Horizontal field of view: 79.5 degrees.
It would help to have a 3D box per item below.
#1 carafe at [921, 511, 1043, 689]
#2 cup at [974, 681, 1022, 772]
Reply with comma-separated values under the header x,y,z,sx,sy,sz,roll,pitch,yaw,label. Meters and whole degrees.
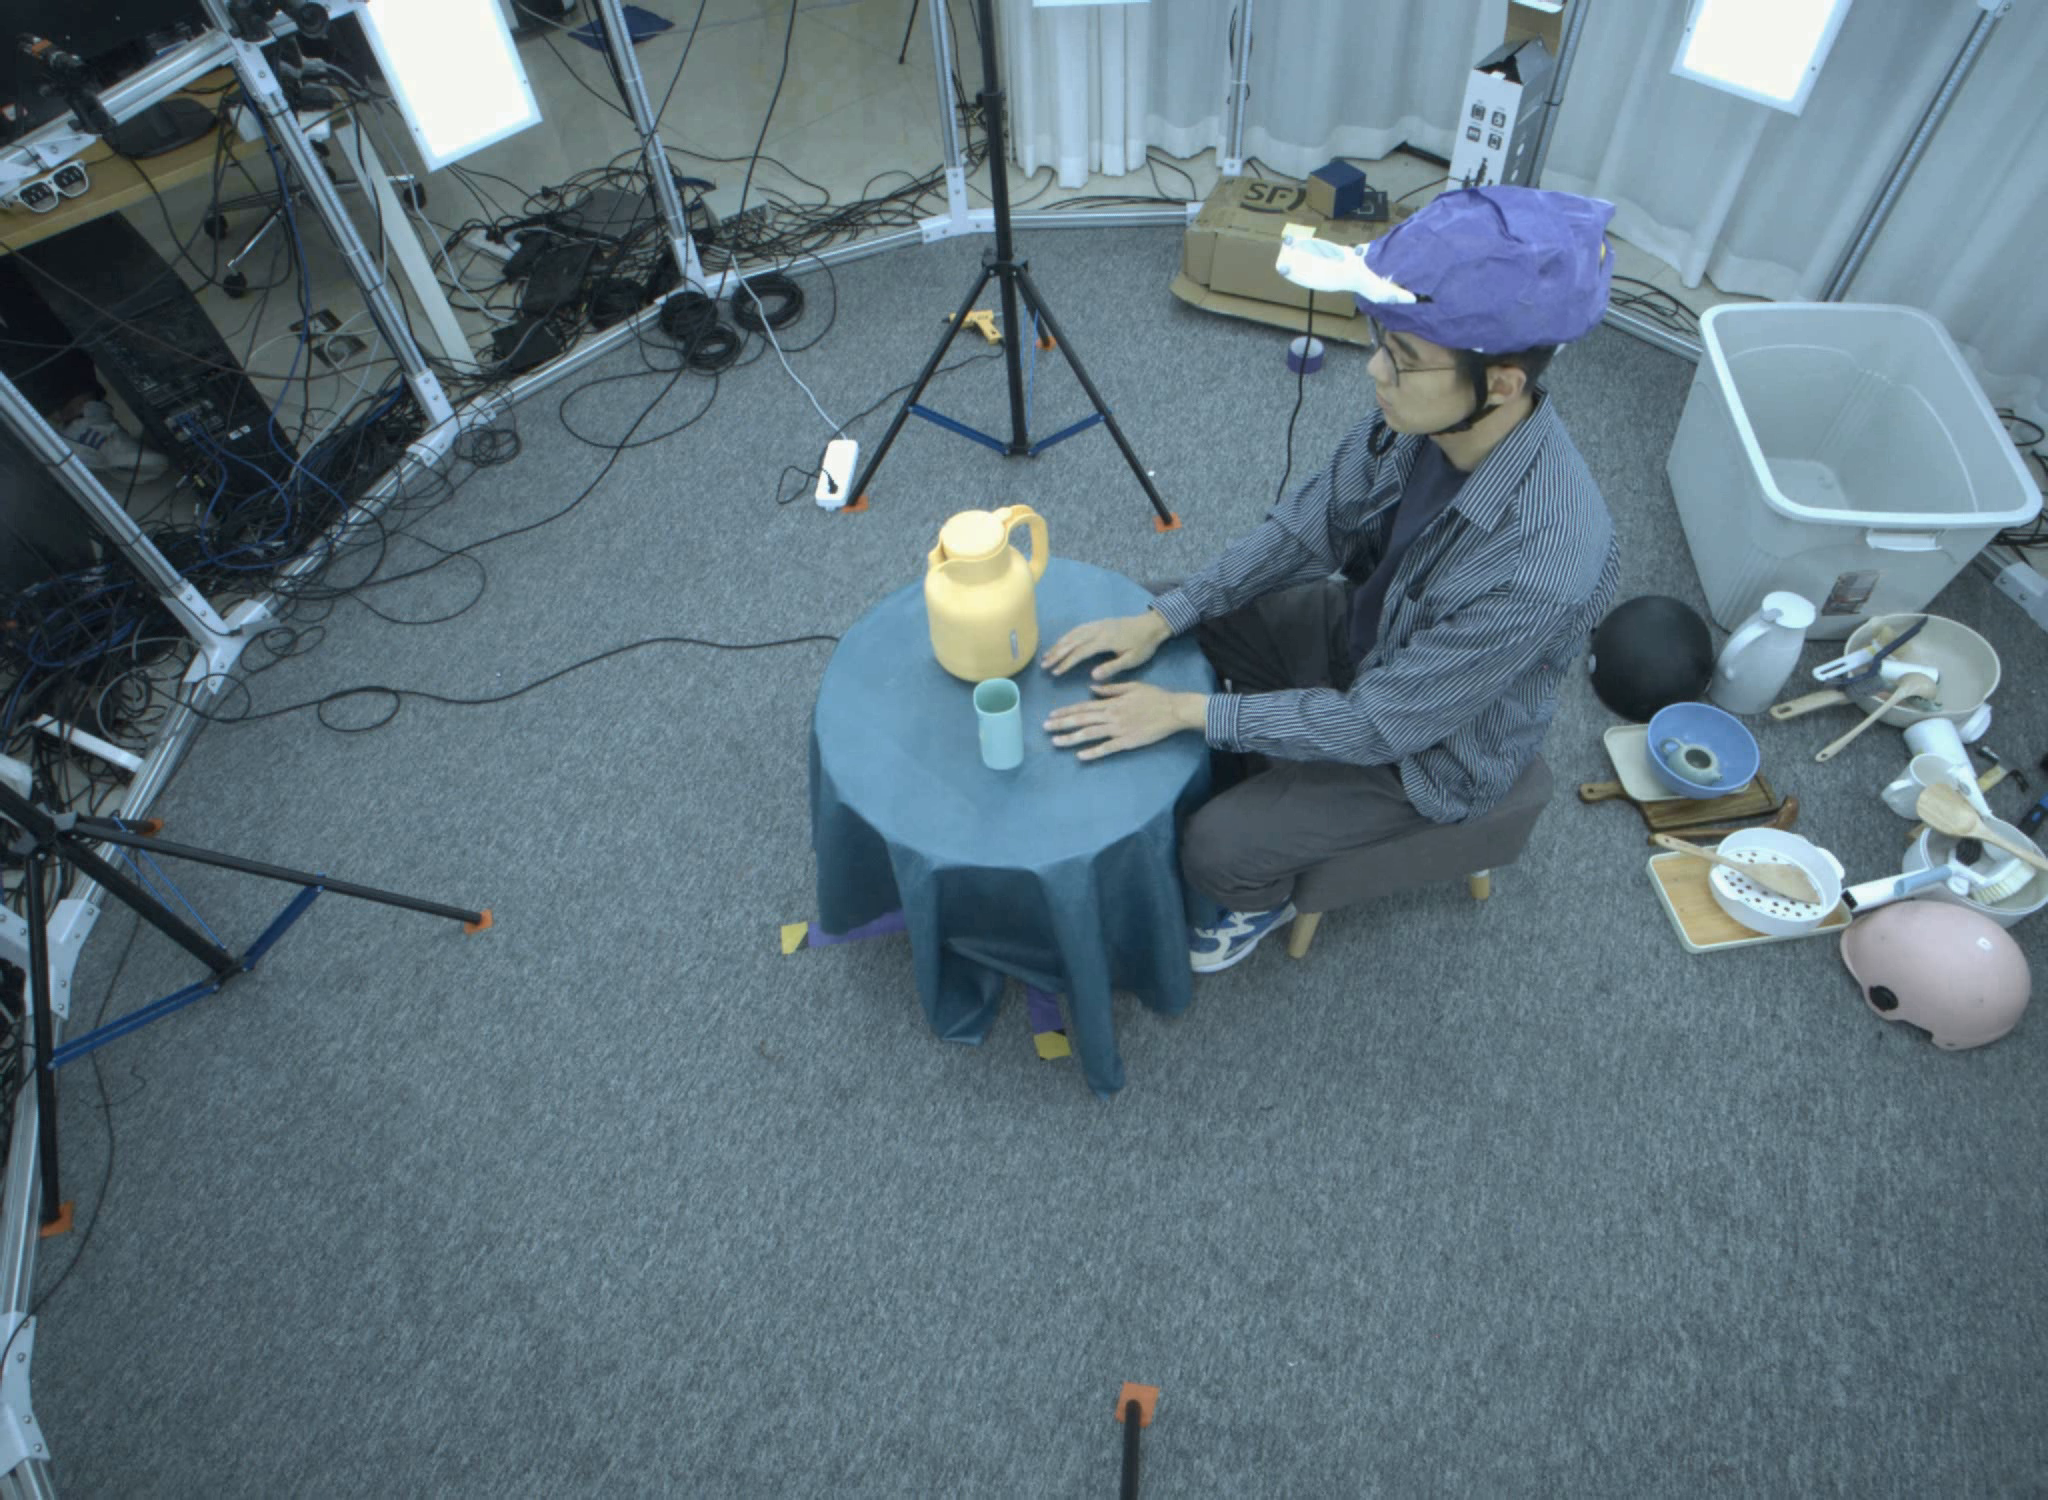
x,y,z,sx,sy,sz,roll,pitch,yaw,label
-0.053,-0.228,1.795,0.204,0.263,0.160,-37,62,-21,carafe
-0.034,-0.032,1.740,0.067,0.134,0.066,-1,54,2,cup
